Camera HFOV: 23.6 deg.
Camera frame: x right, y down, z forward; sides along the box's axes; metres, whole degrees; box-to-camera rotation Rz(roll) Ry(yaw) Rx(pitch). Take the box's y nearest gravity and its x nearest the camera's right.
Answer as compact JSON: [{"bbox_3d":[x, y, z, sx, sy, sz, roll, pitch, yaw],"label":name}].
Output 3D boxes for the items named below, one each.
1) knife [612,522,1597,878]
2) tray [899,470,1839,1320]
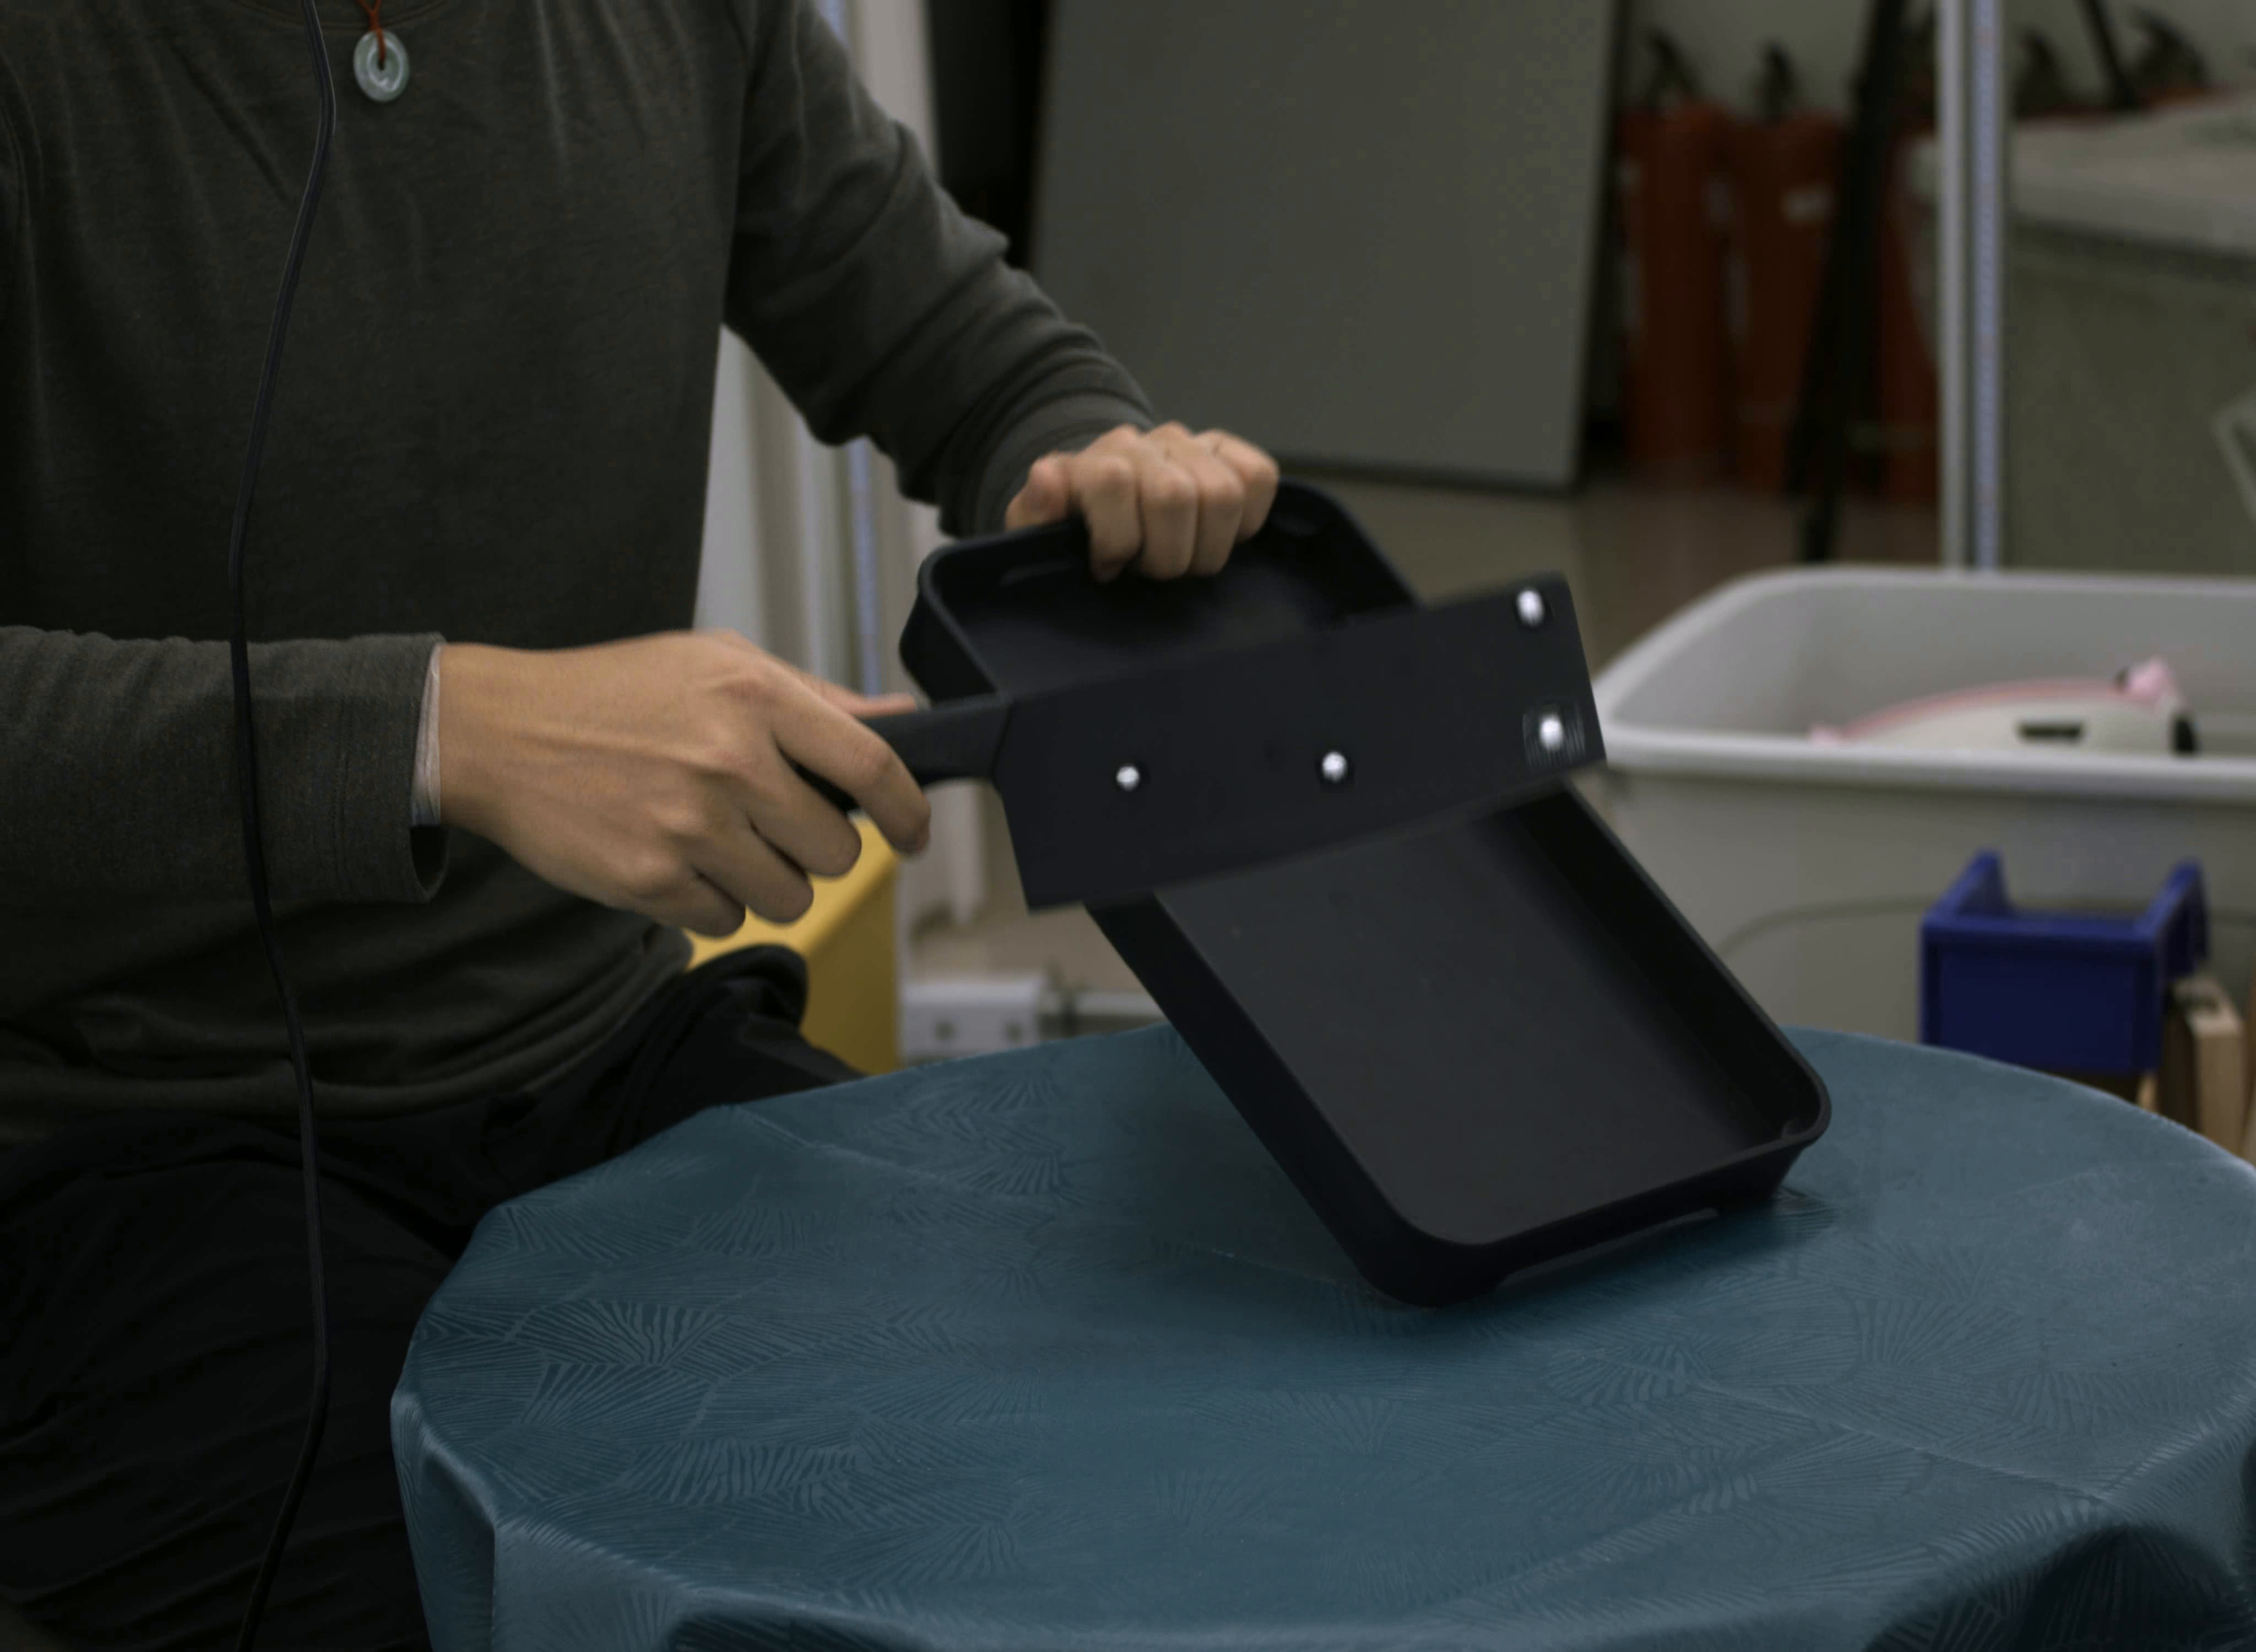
[{"bbox_3d":[-0.010,-0.025,1.608,0.300,0.082,0.021,-10,-3,8],"label":"knife"},{"bbox_3d":[0.075,0.015,1.746,0.180,0.037,0.321,-15,53,-35],"label":"tray"}]
